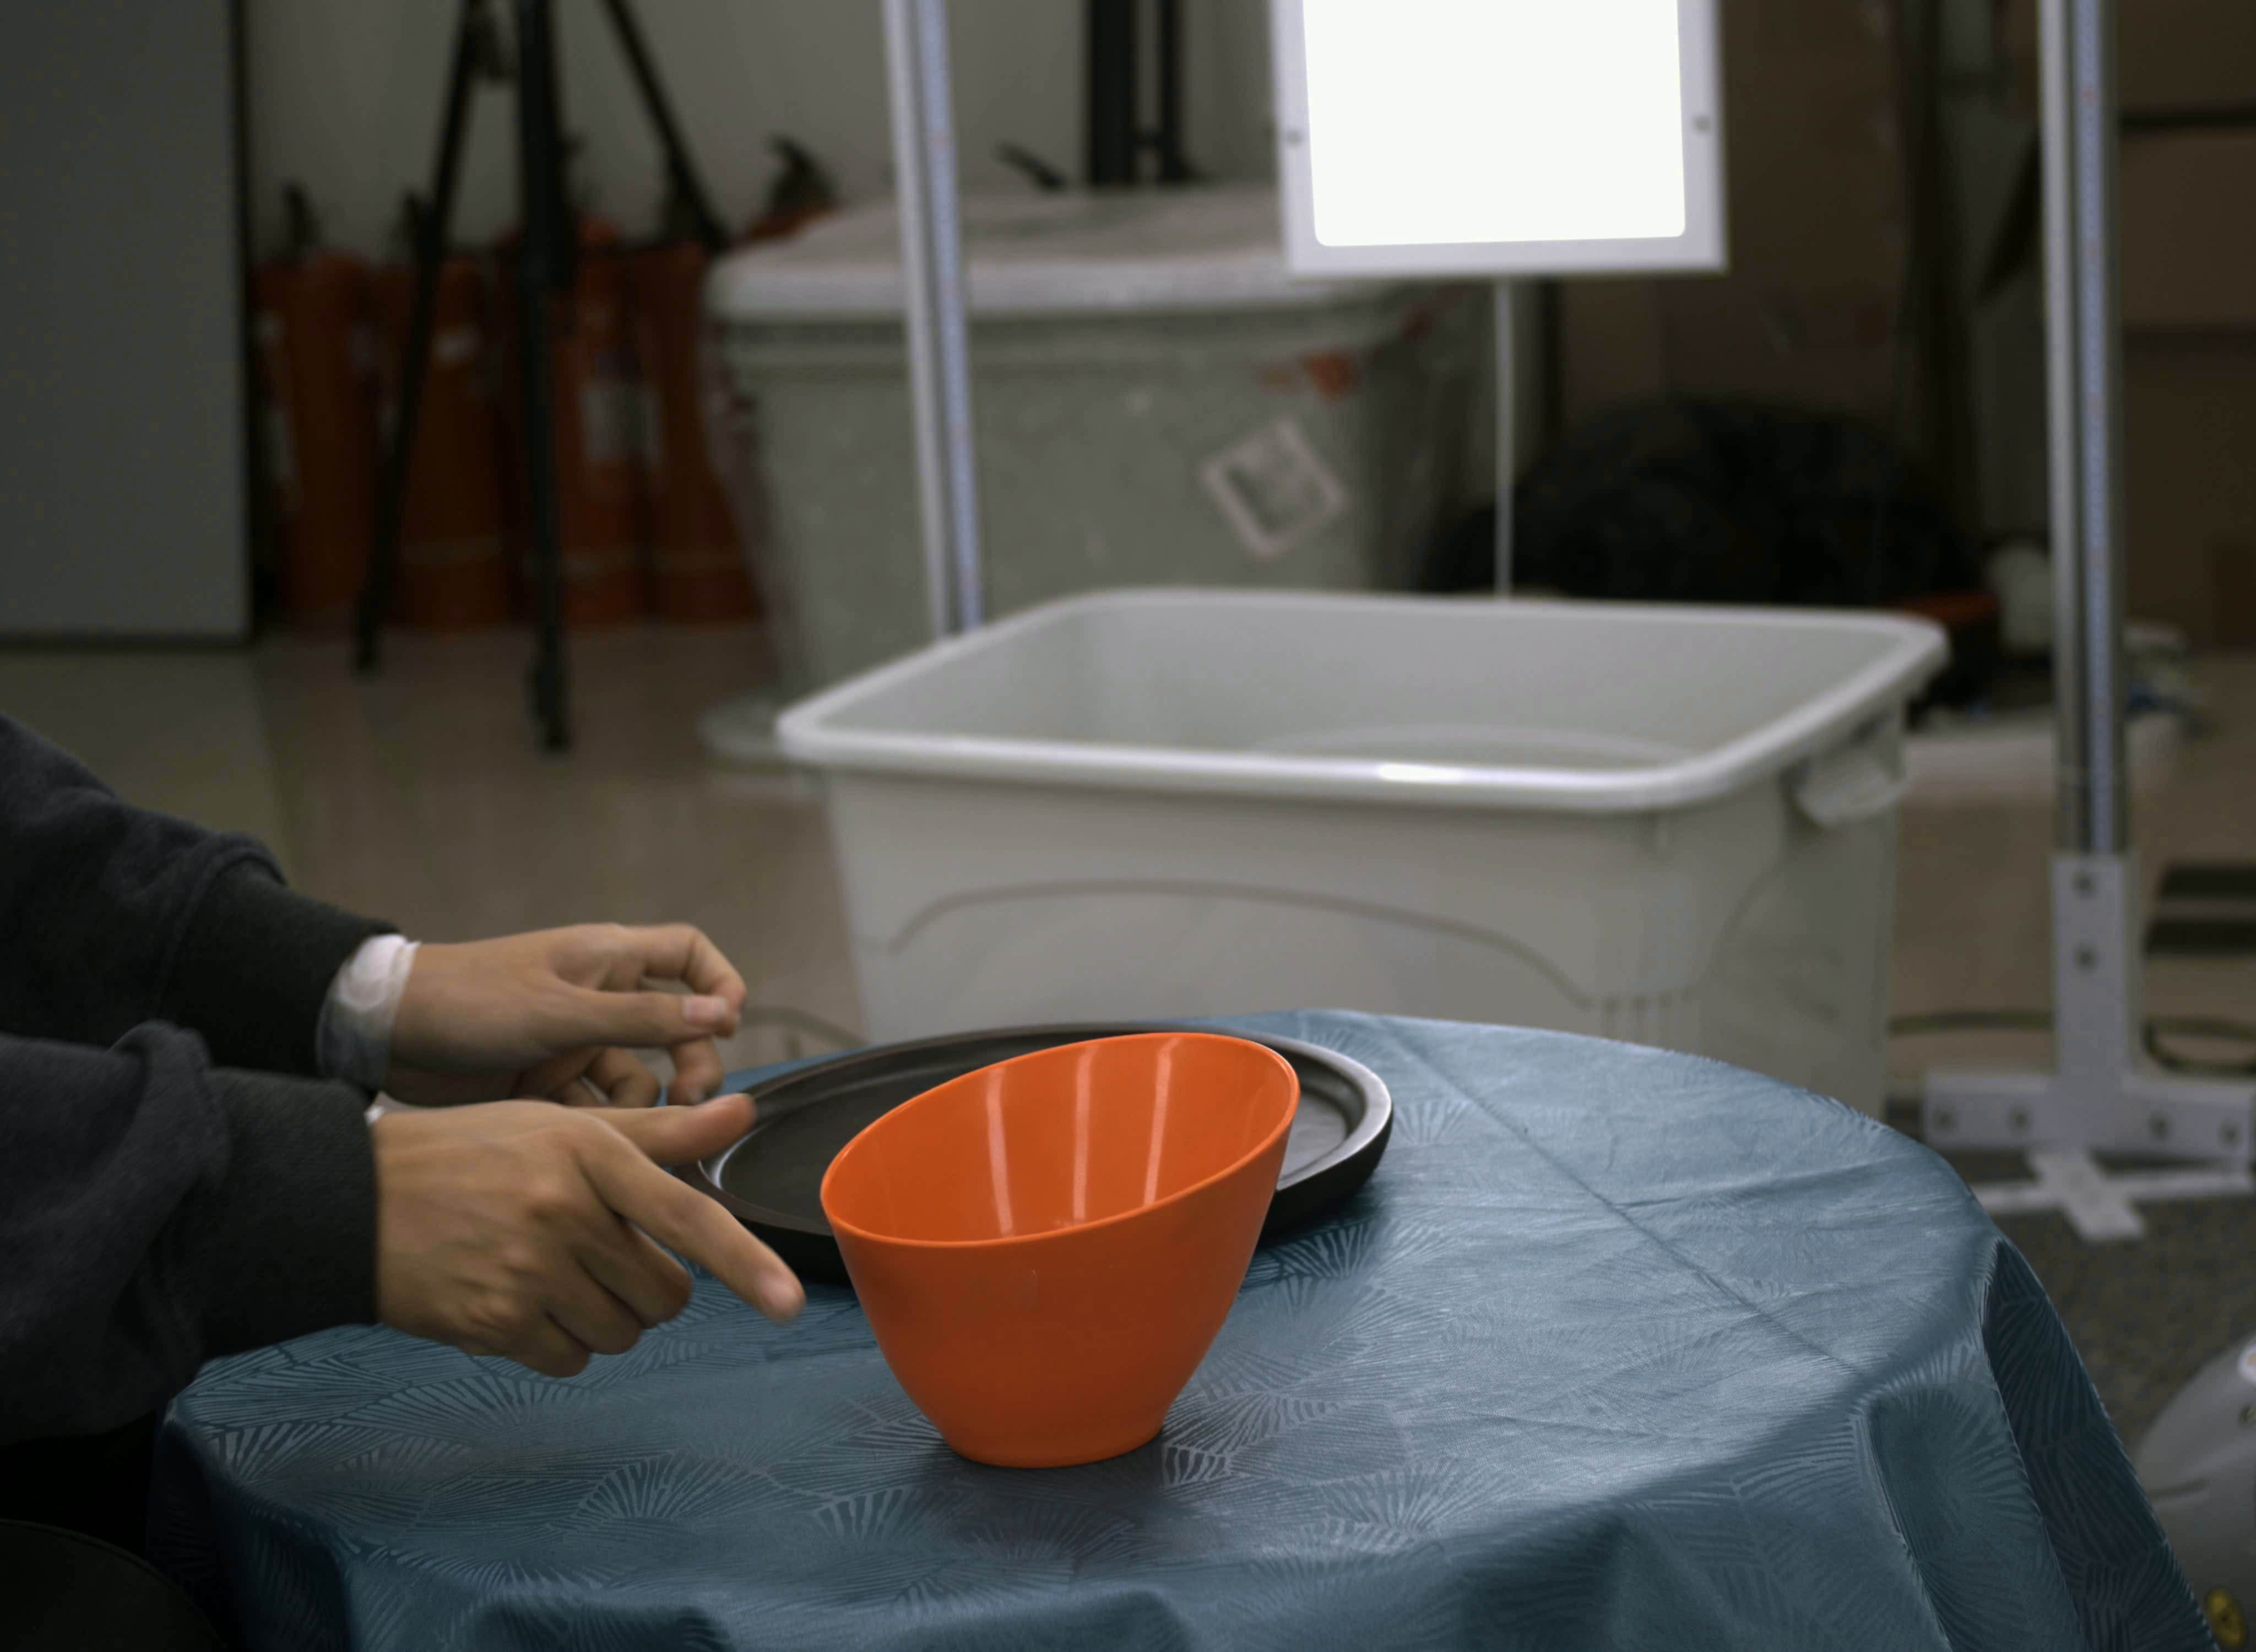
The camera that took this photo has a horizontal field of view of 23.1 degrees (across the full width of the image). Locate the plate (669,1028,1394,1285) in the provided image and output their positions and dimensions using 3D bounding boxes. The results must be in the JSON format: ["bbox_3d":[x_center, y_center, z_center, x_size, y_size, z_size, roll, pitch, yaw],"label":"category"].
[{"bbox_3d":[-0.033,0.114,1.913,0.254,0.029,0.254,-5,15,0],"label":"plate"}]

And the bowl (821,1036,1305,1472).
[{"bbox_3d":[-0.016,0.133,1.663,0.147,0.105,0.148,-4,14,0],"label":"bowl"}]
